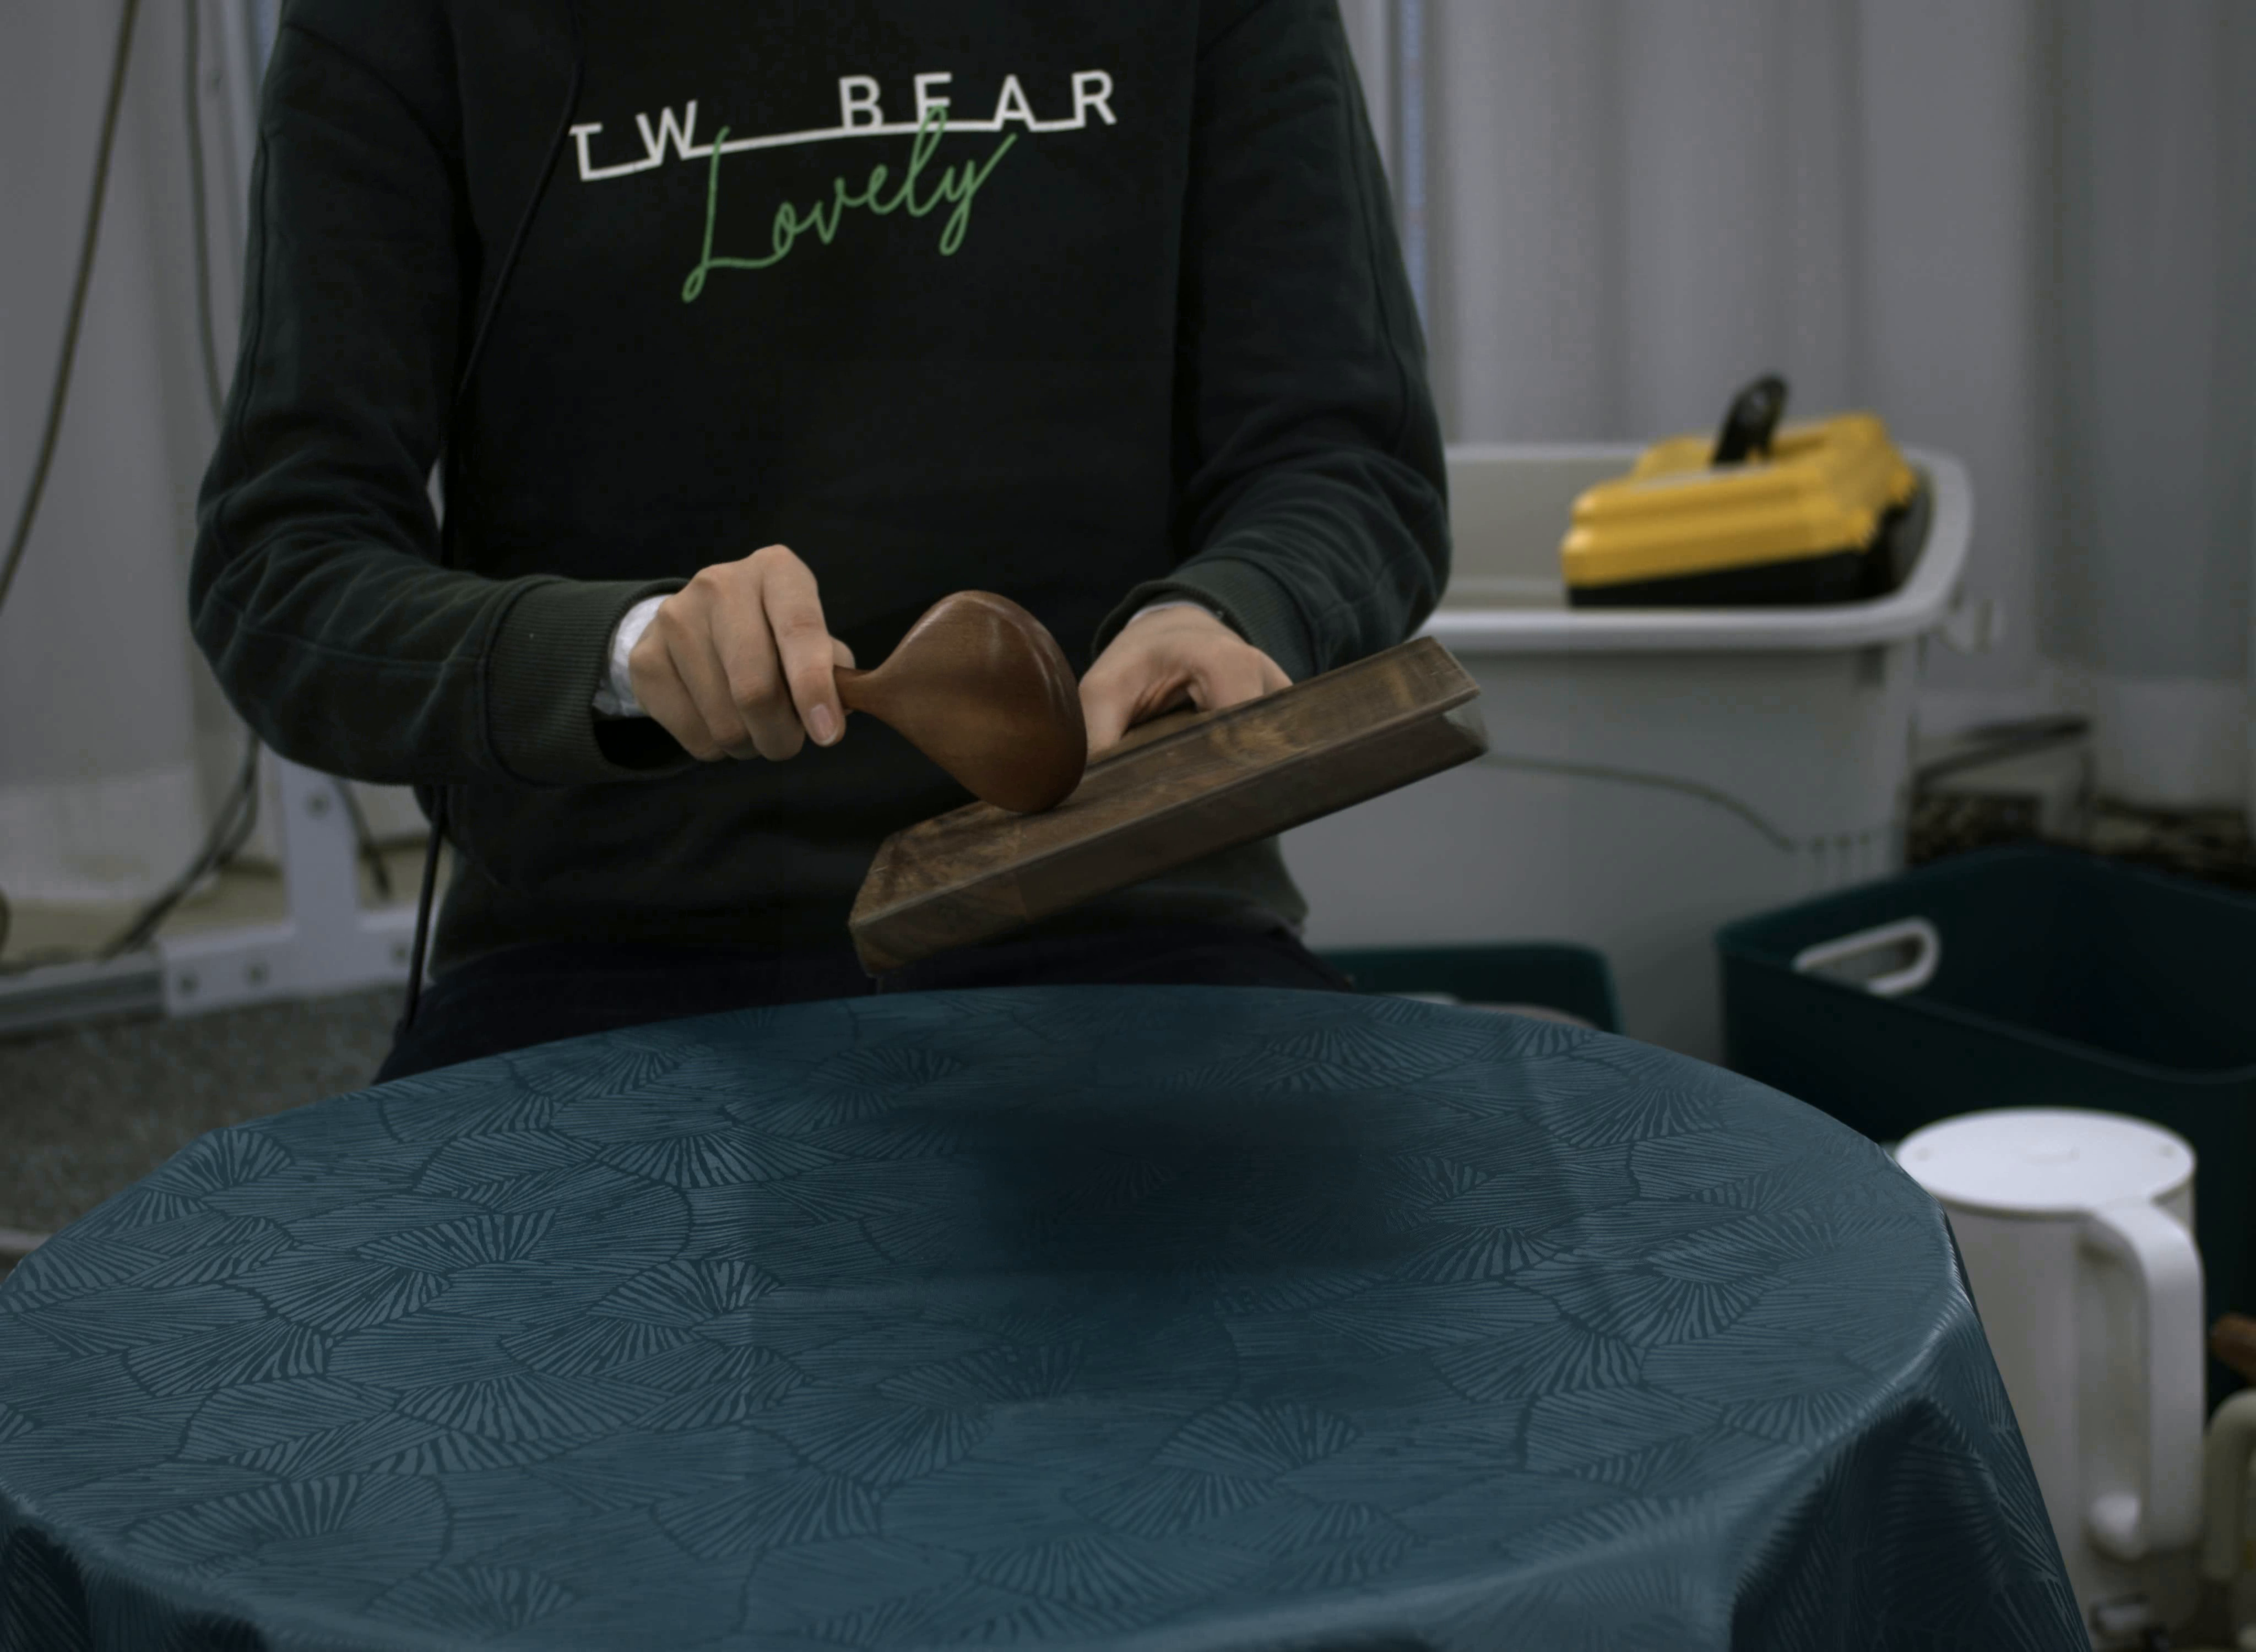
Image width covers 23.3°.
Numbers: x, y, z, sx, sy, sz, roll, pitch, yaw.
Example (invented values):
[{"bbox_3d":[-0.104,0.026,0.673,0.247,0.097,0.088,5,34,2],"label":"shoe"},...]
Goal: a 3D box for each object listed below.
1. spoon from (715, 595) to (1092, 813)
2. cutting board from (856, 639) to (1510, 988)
[{"bbox_3d":[-0.078,-0.042,1.785,0.017,0.075,0.217,-26,18,-29],"label":"spoon"},{"bbox_3d":[0.014,-0.012,1.732,0.200,0.023,0.353,-21,5,2],"label":"cutting board"}]
